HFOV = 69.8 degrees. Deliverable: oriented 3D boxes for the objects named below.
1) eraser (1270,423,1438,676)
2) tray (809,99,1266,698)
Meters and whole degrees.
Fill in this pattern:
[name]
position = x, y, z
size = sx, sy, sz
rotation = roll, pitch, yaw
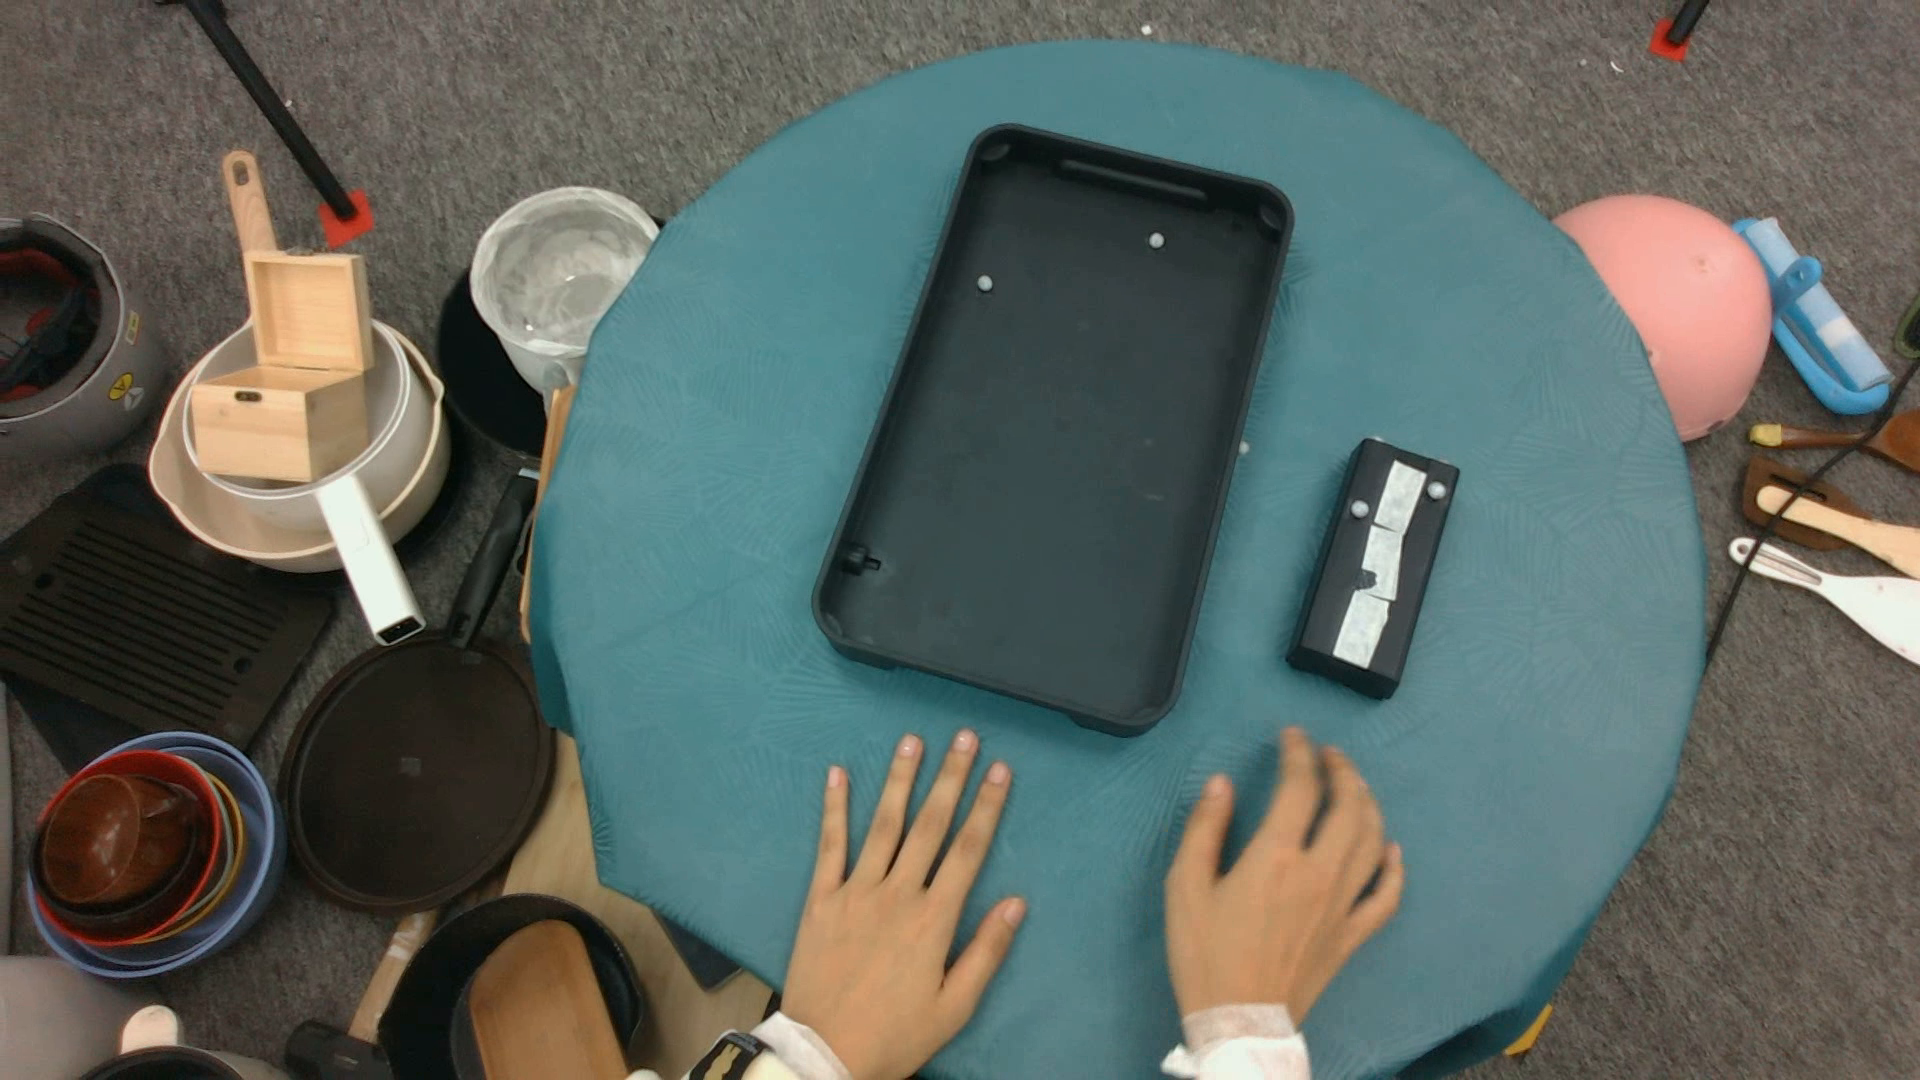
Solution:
[eraser]
position = 0.199, 0.003, 0.695
size = 0.053, 0.030, 0.126
rotation = 18, 69, 11
[tray]
position = 0.048, -0.084, 0.724
size = 0.184, 0.037, 0.319
rotation = 12, 68, 4
